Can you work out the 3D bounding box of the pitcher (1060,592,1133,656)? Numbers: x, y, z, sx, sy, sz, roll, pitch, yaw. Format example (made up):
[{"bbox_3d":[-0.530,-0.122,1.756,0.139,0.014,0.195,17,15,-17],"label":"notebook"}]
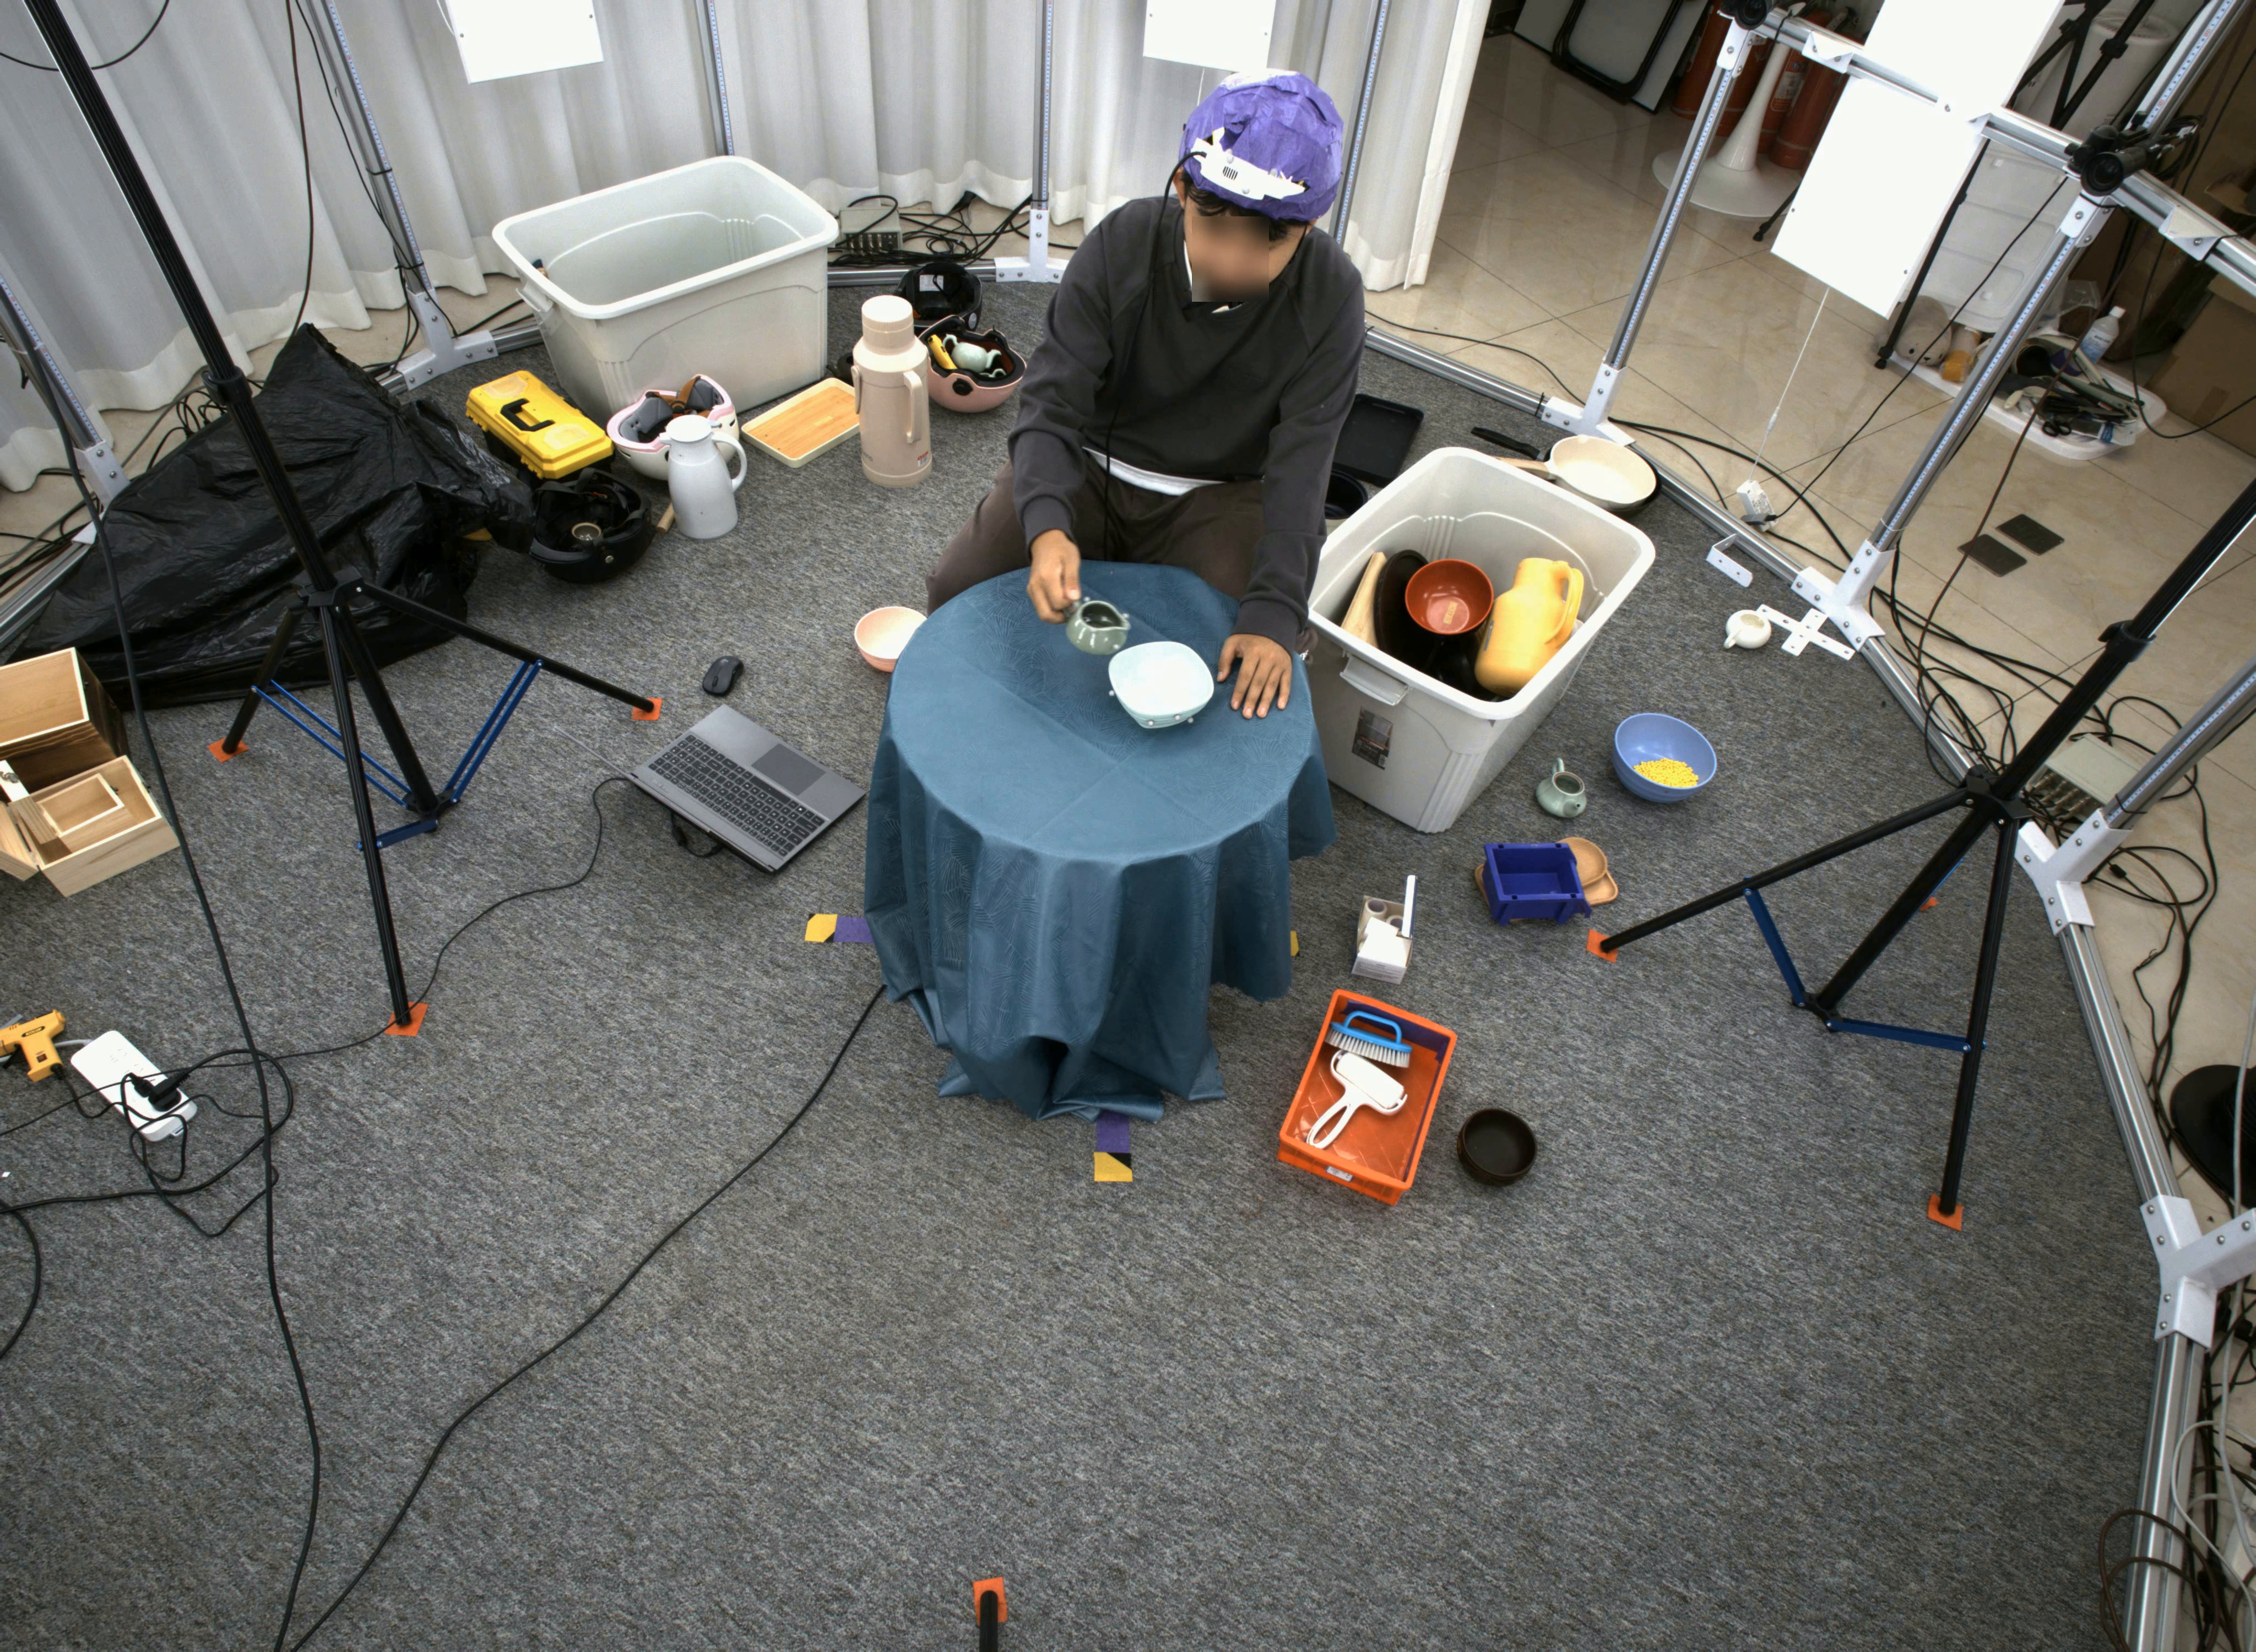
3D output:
[{"bbox_3d":[-0.045,-0.276,1.753,0.113,0.055,0.085,30,53,14],"label":"pitcher"}]

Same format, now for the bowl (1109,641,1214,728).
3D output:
[{"bbox_3d":[0.044,-0.190,1.798,0.151,0.057,0.155,2,50,-3],"label":"bowl"}]
